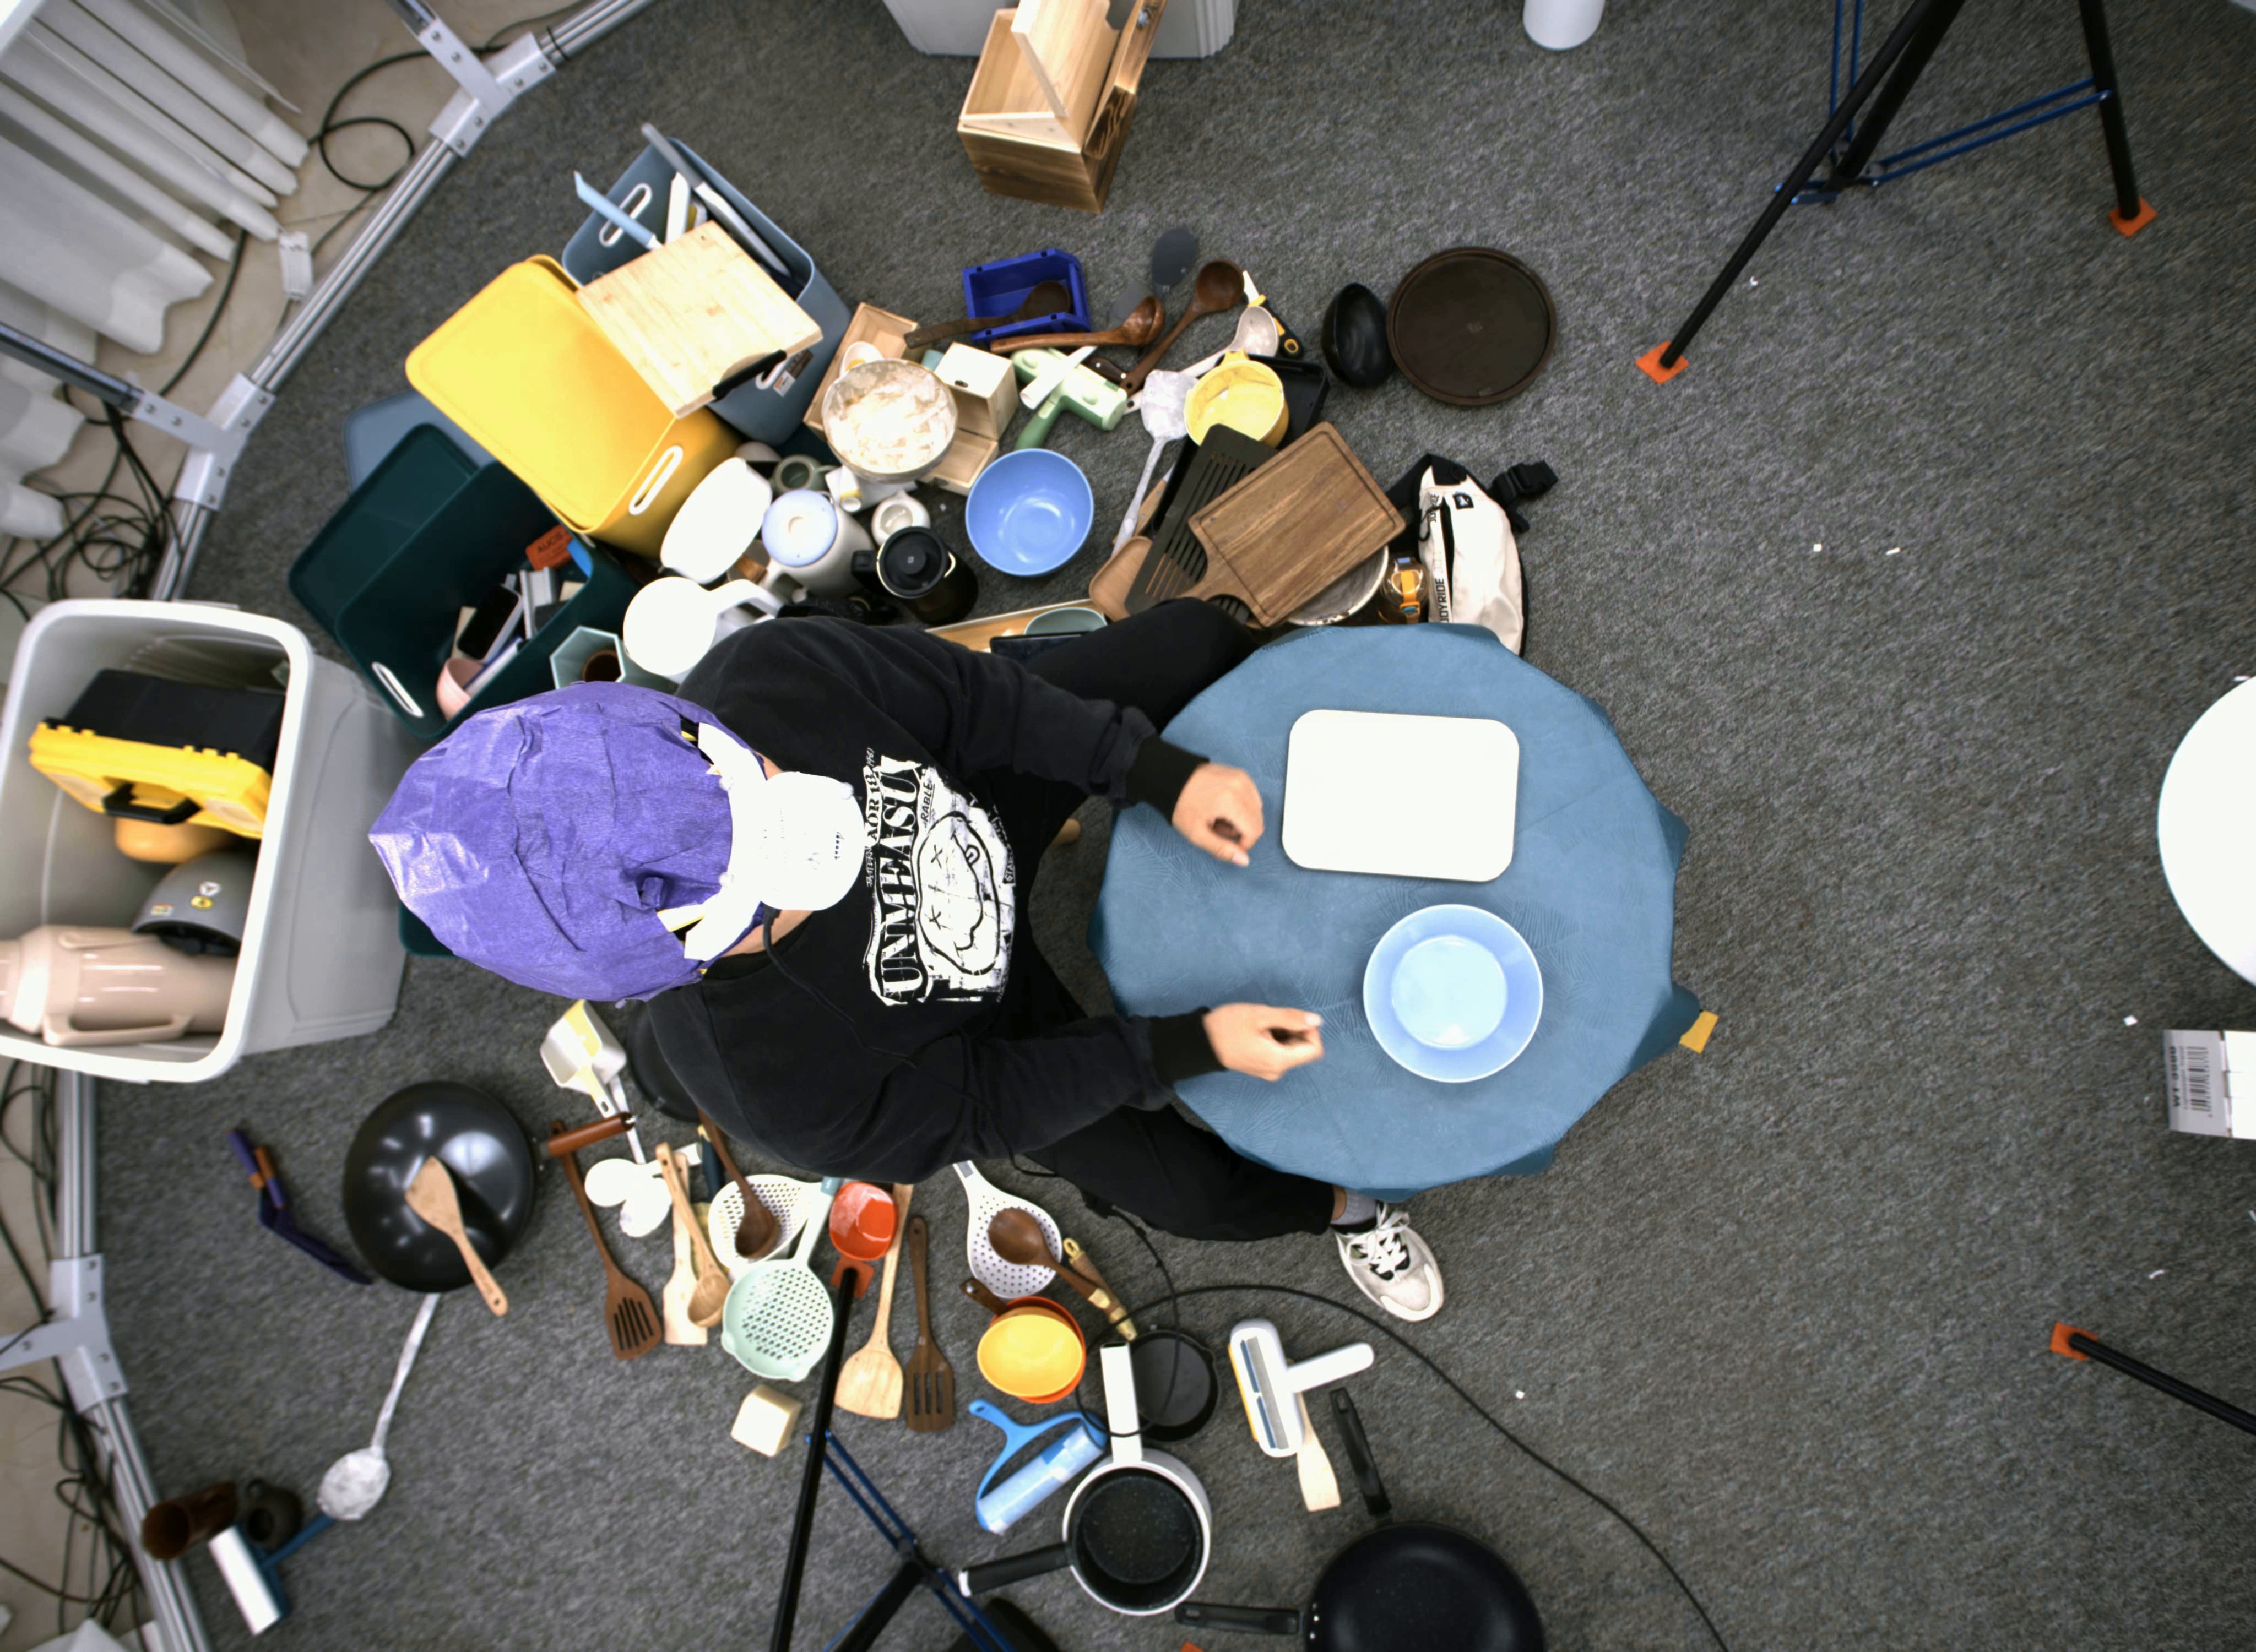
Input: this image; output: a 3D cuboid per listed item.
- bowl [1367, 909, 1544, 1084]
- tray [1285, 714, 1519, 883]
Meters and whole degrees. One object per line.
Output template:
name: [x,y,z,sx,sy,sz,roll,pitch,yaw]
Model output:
bowl: [0.332,0.173,1.410,0.177,0.070,0.175,-1,85,10]
tray: [0.289,-0.031,1.459,0.240,0.017,0.170,4,86,11]
